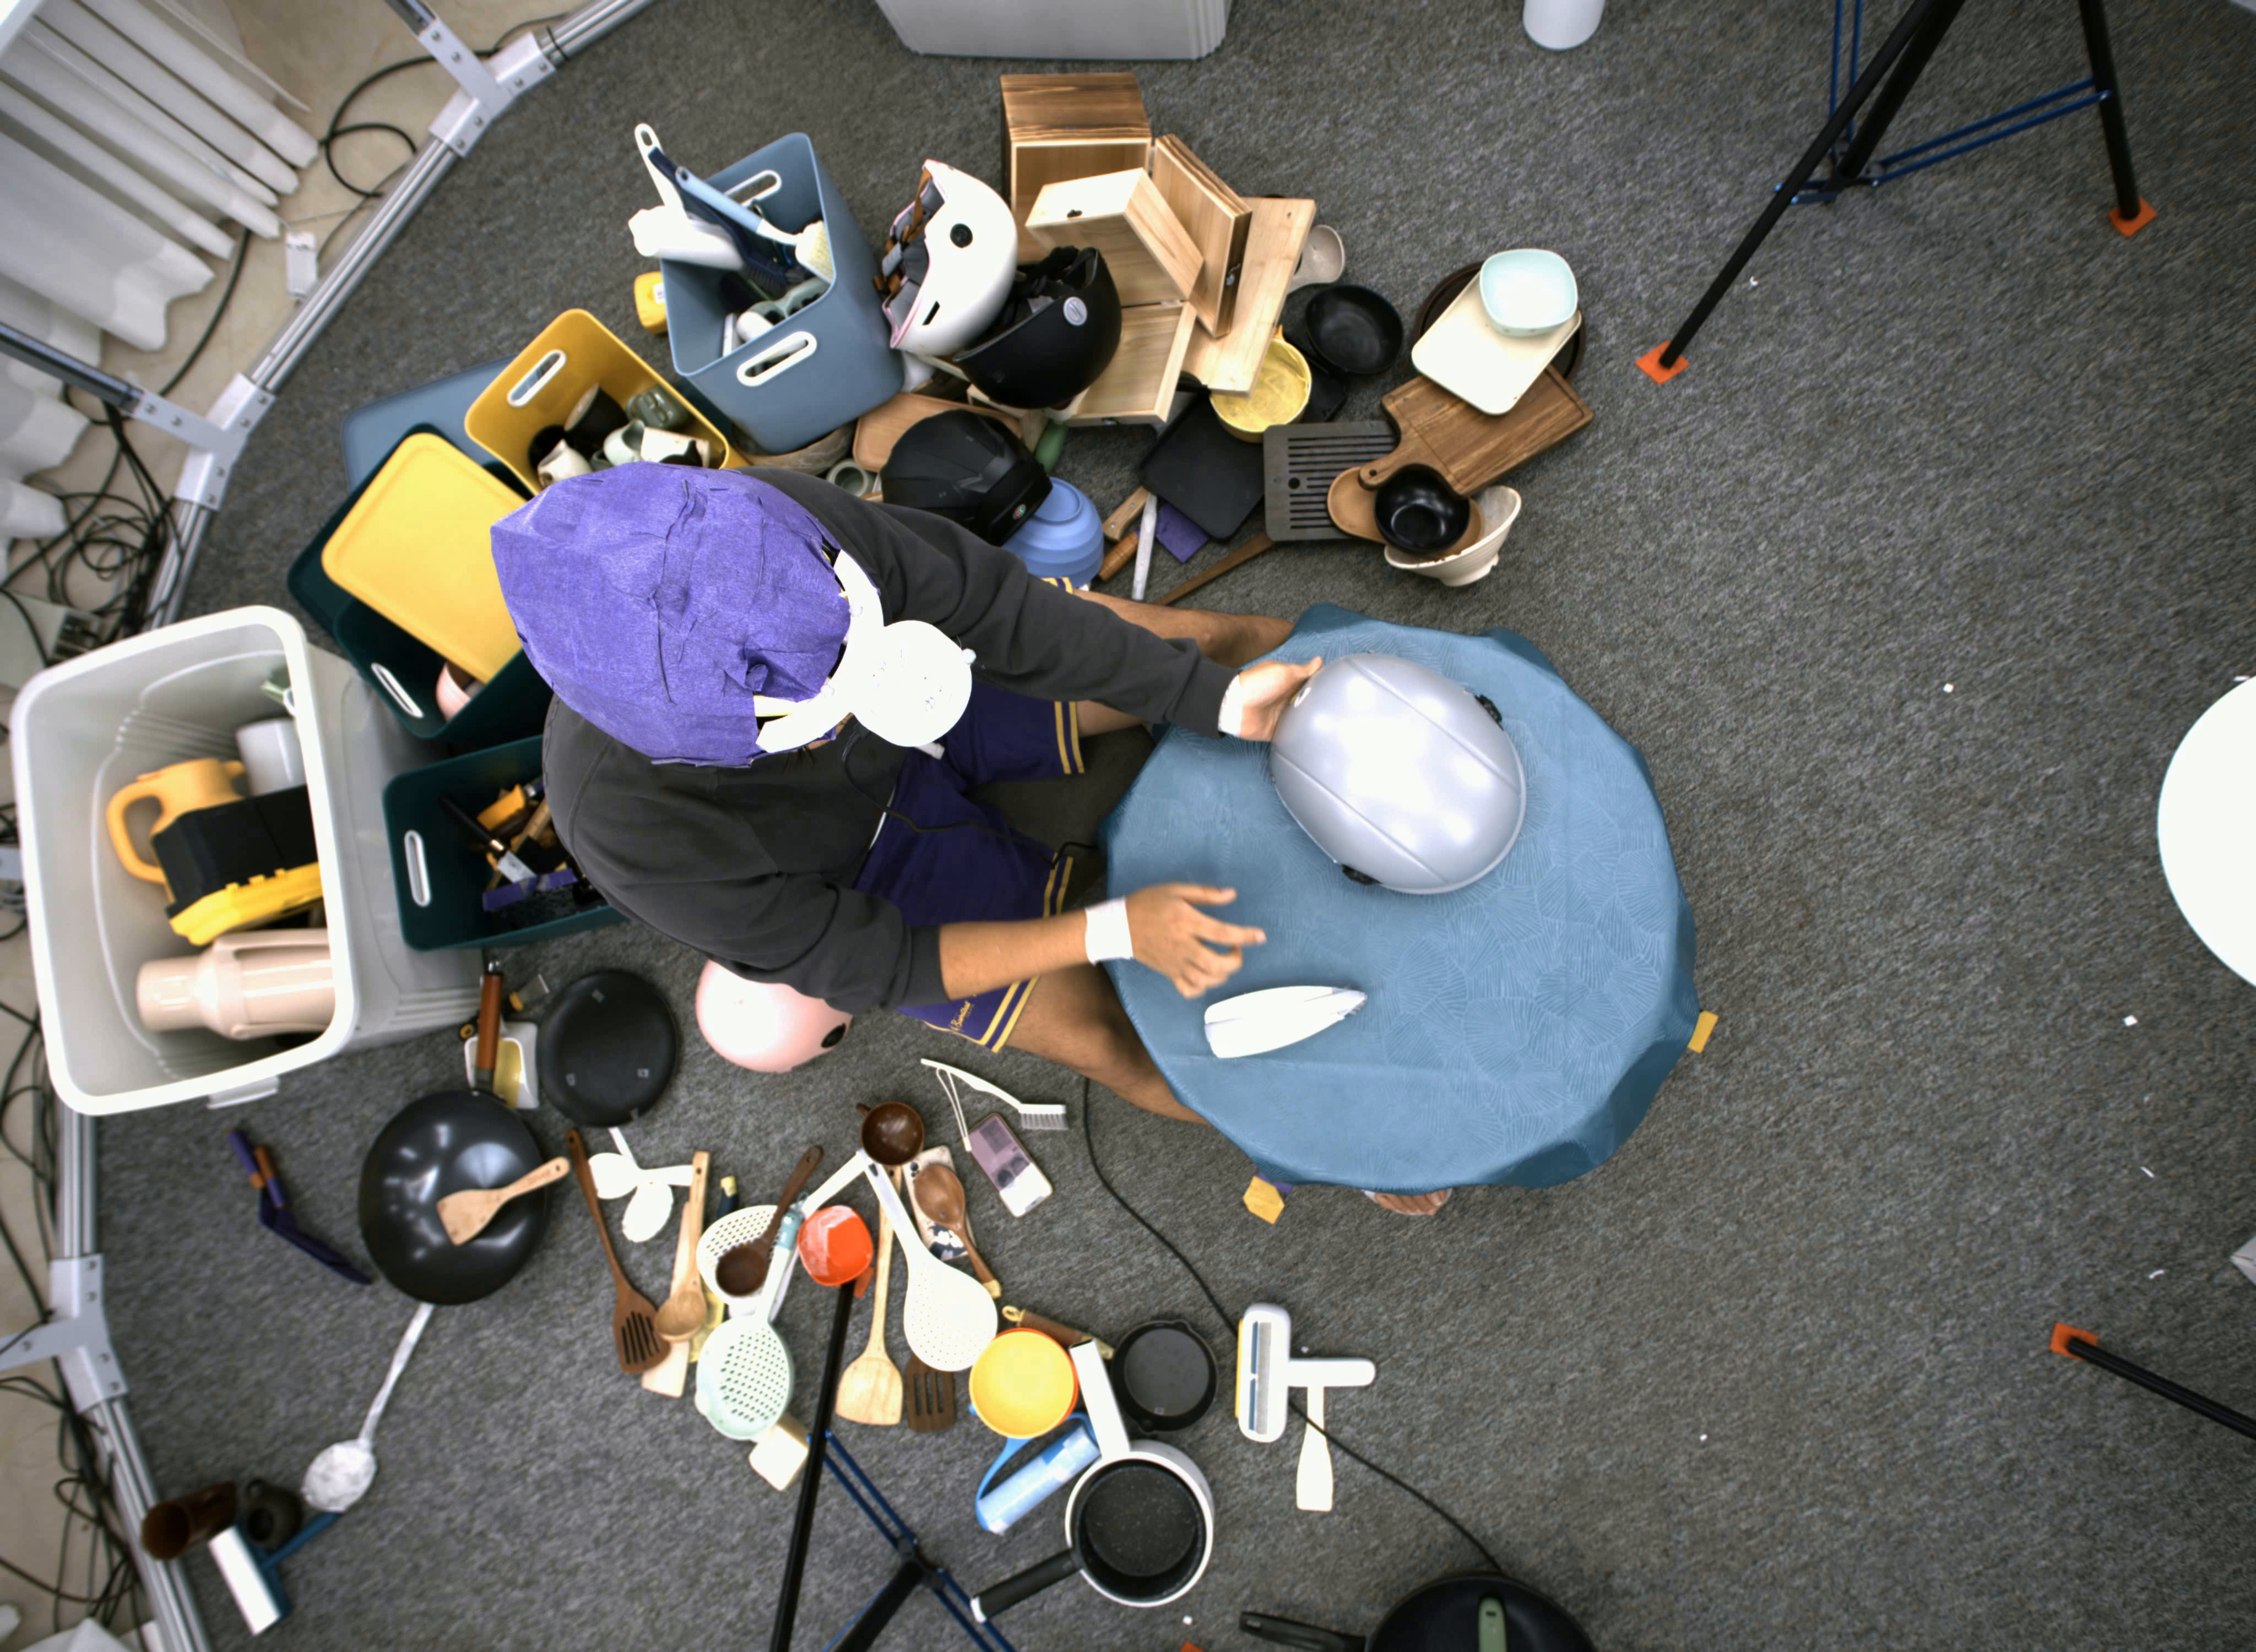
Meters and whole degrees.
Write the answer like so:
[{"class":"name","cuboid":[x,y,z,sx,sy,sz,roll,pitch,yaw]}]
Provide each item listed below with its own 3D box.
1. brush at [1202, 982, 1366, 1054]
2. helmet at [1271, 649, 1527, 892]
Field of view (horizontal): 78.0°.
[{"class":"brush","cuboid":[0.161,0.191,1.427,0.176,0.094,0.061,-14,85,7]},{"class":"helmet","cuboid":[0.272,-0.056,1.382,0.275,0.168,0.234,40,100,9]}]
